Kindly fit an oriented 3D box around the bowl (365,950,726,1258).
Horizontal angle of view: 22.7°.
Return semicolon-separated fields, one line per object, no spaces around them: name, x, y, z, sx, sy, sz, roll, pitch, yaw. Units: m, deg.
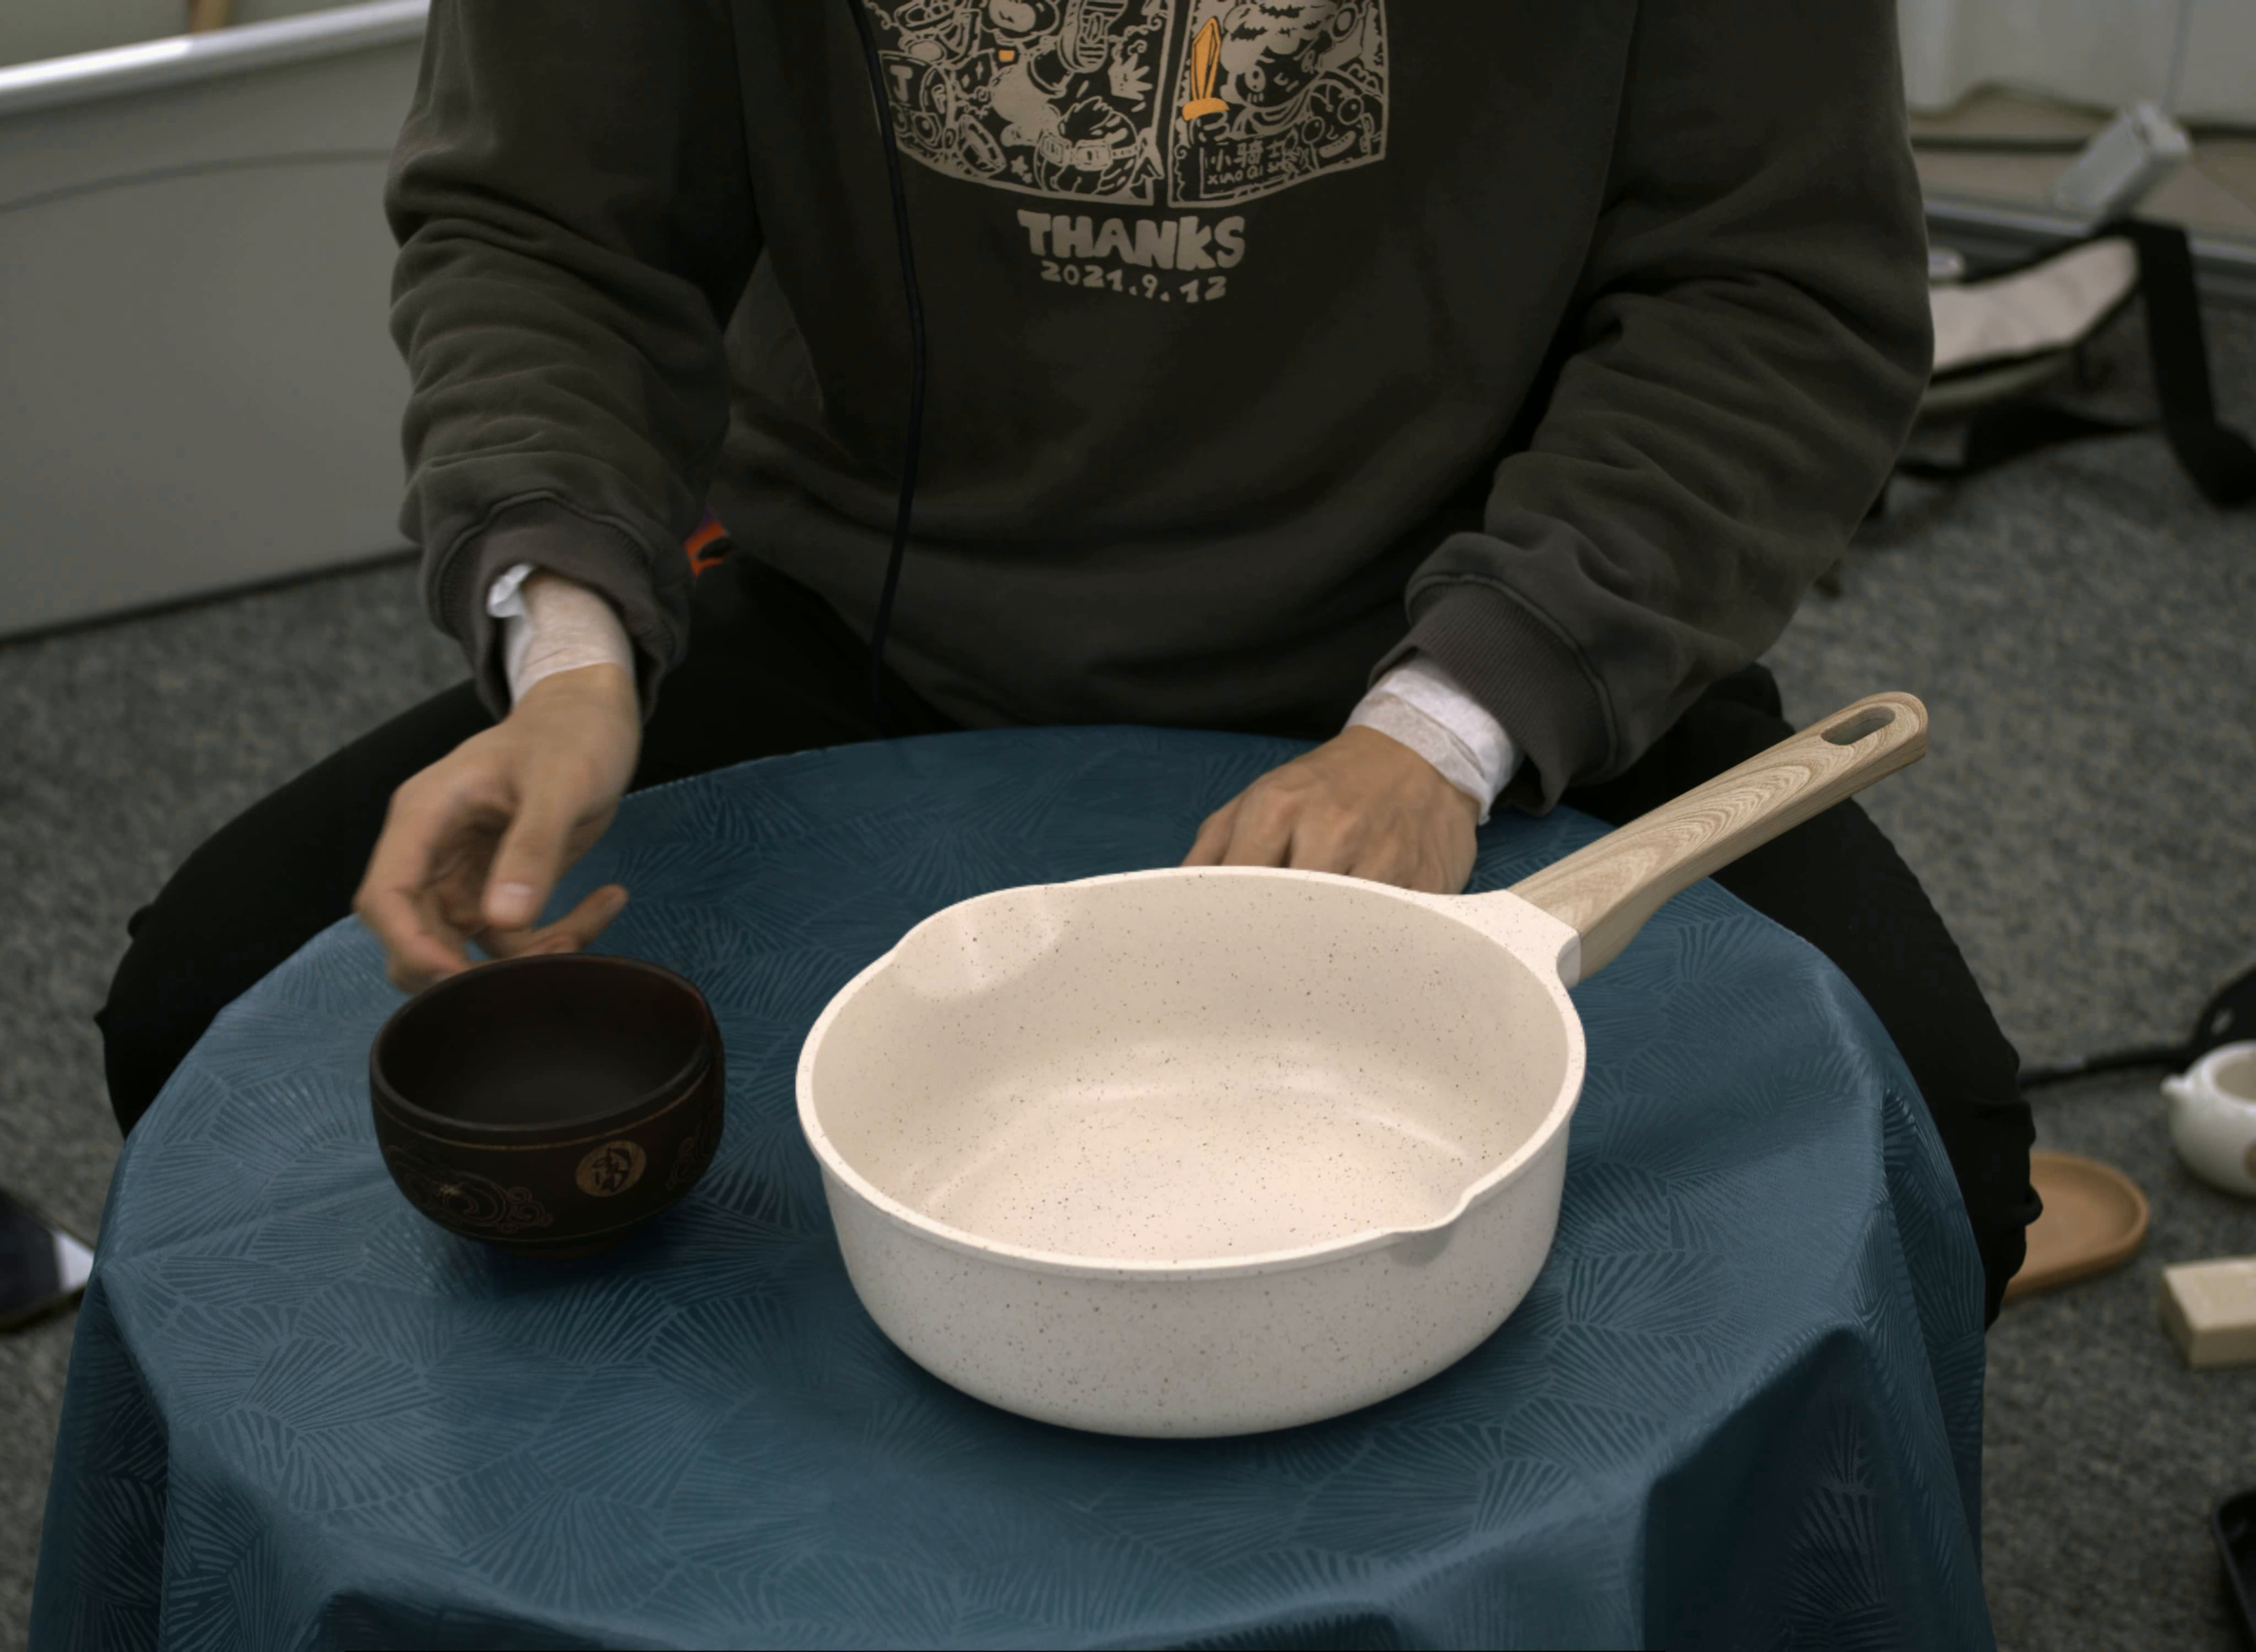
bowl;-0.189;0.099;1.847;0.117;0.069;0.120;-4;26;2

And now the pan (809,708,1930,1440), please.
pan;0.100;0.074;1.837;0.438;0.101;0.263;-21;30;-31
